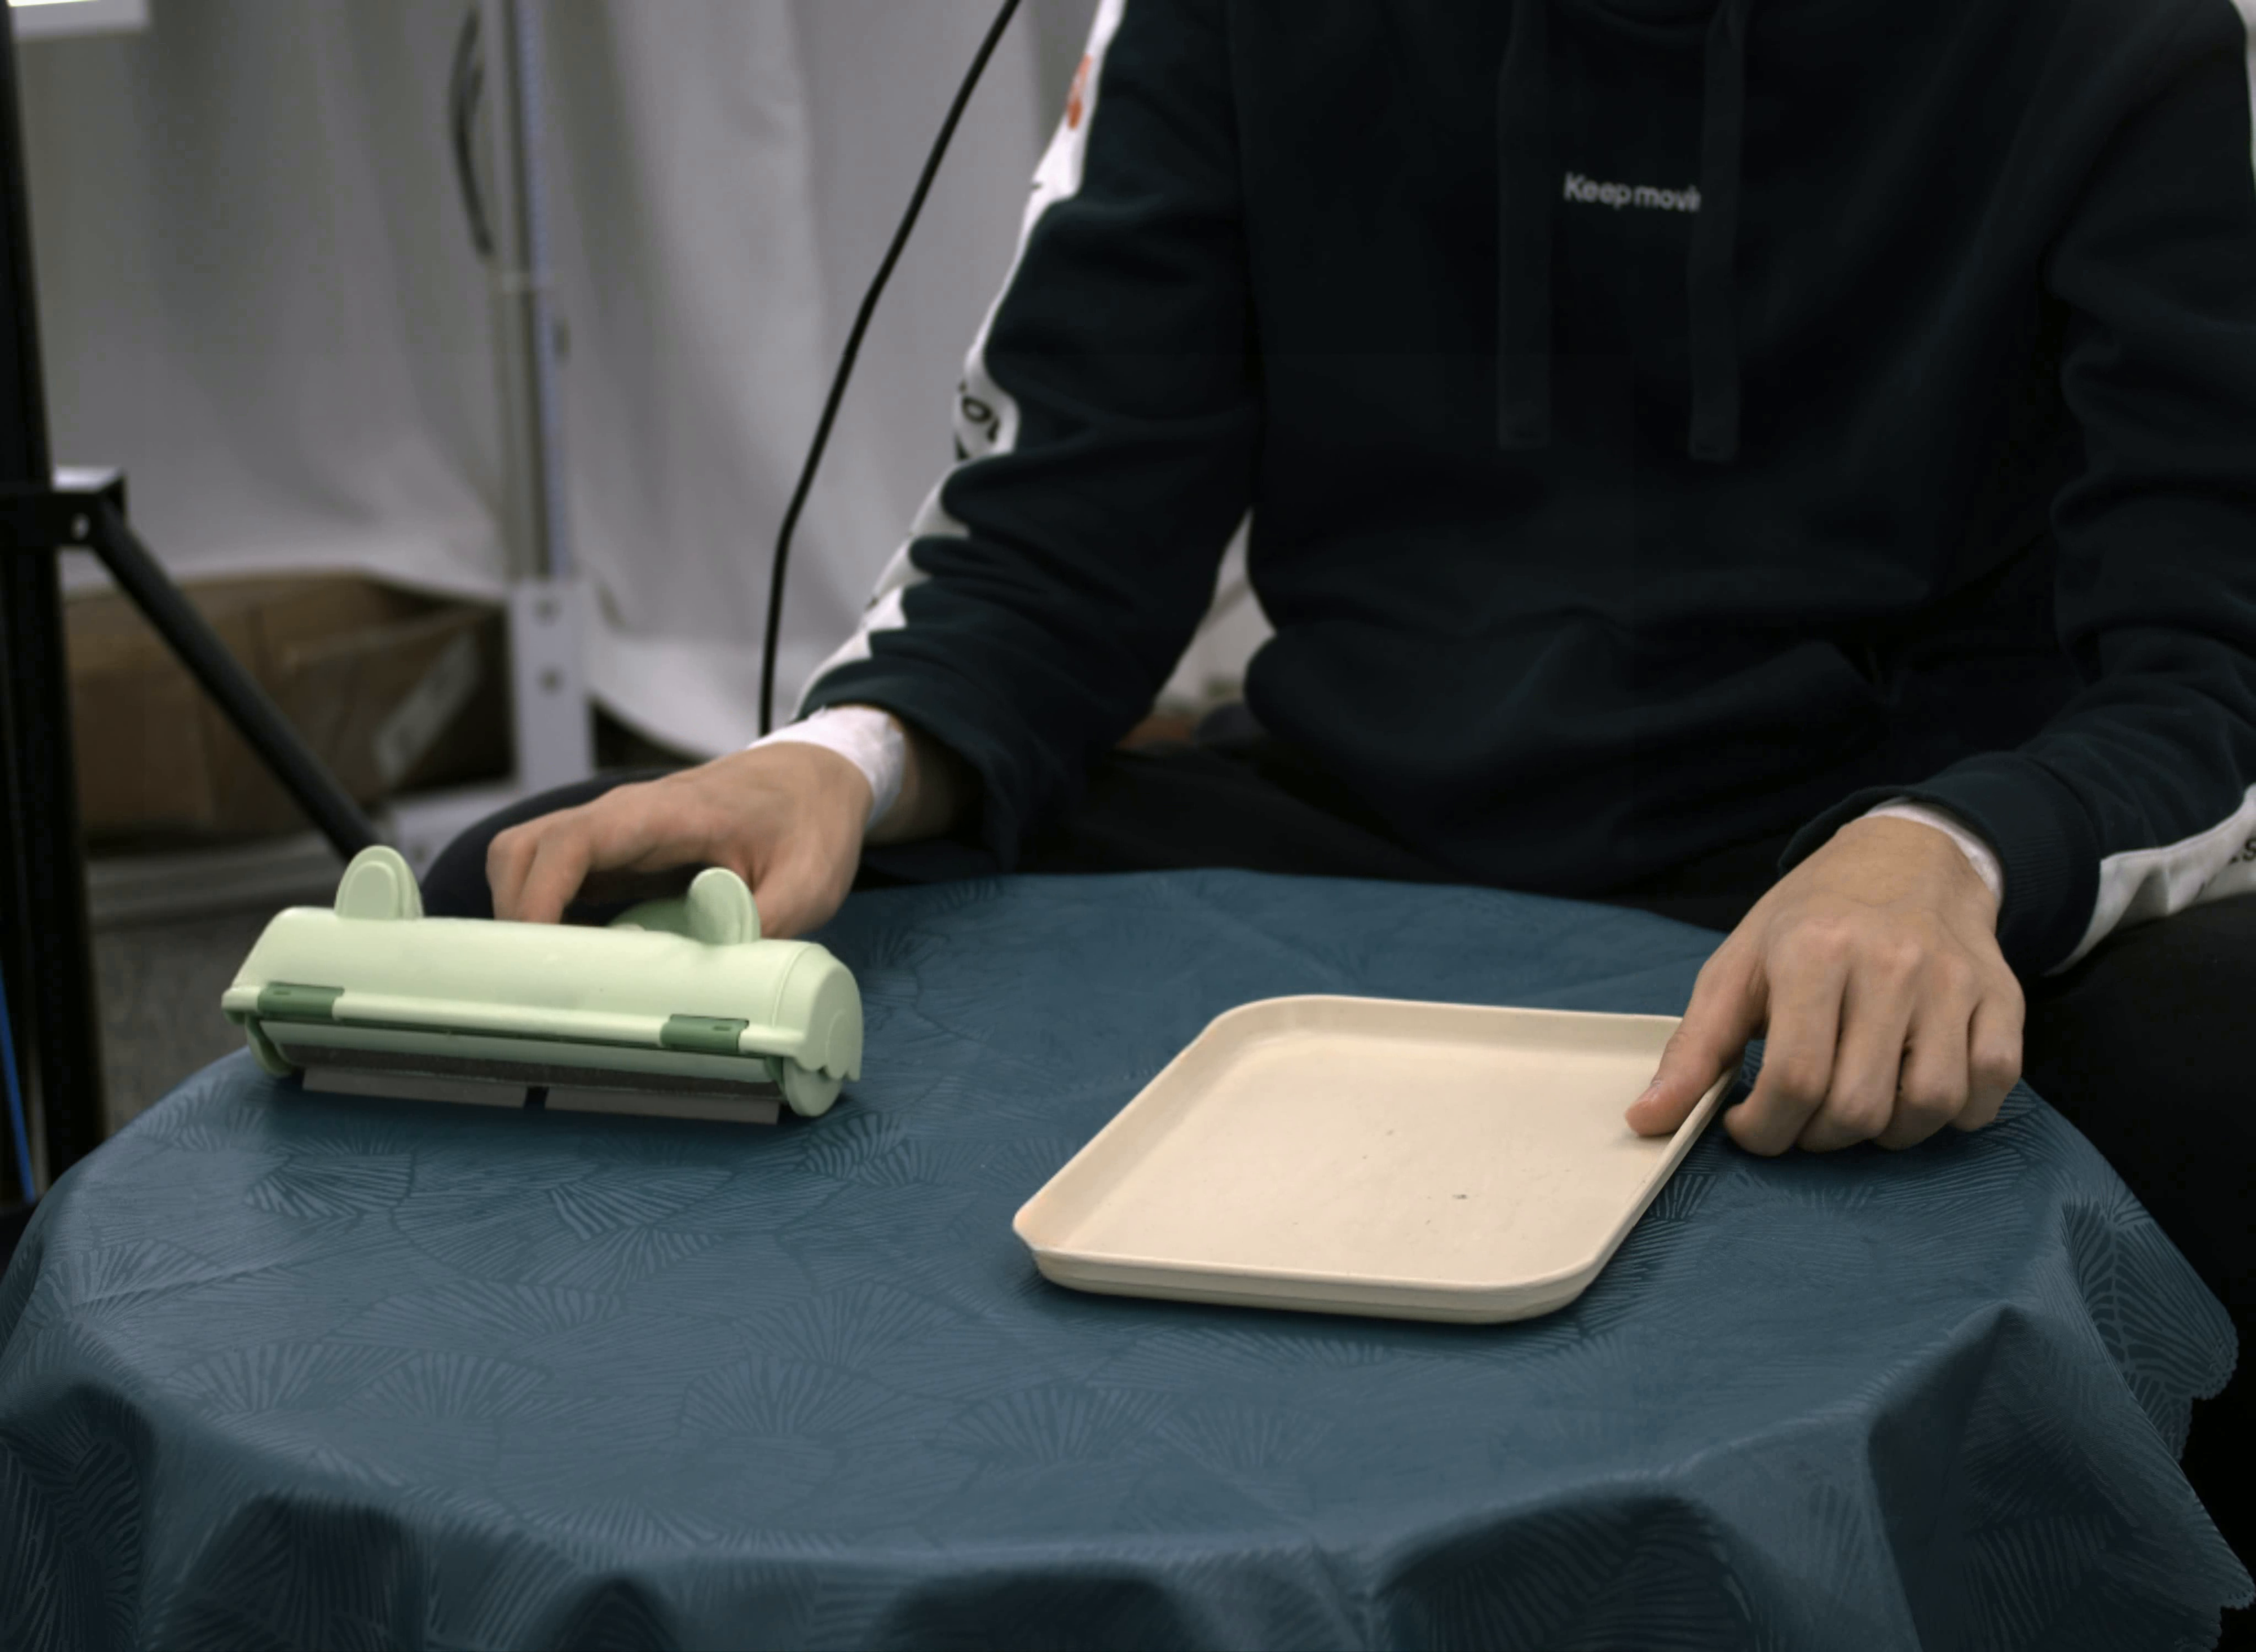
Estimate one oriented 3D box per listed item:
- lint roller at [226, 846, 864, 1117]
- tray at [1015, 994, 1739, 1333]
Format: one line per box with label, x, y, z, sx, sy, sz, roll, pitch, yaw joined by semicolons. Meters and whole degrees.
lint roller;-0.164;0.032;1.712;0.201;0.082;0.181;3;21;20
tray;0.077;0.097;1.551;0.173;0.017;0.237;4;17;19
